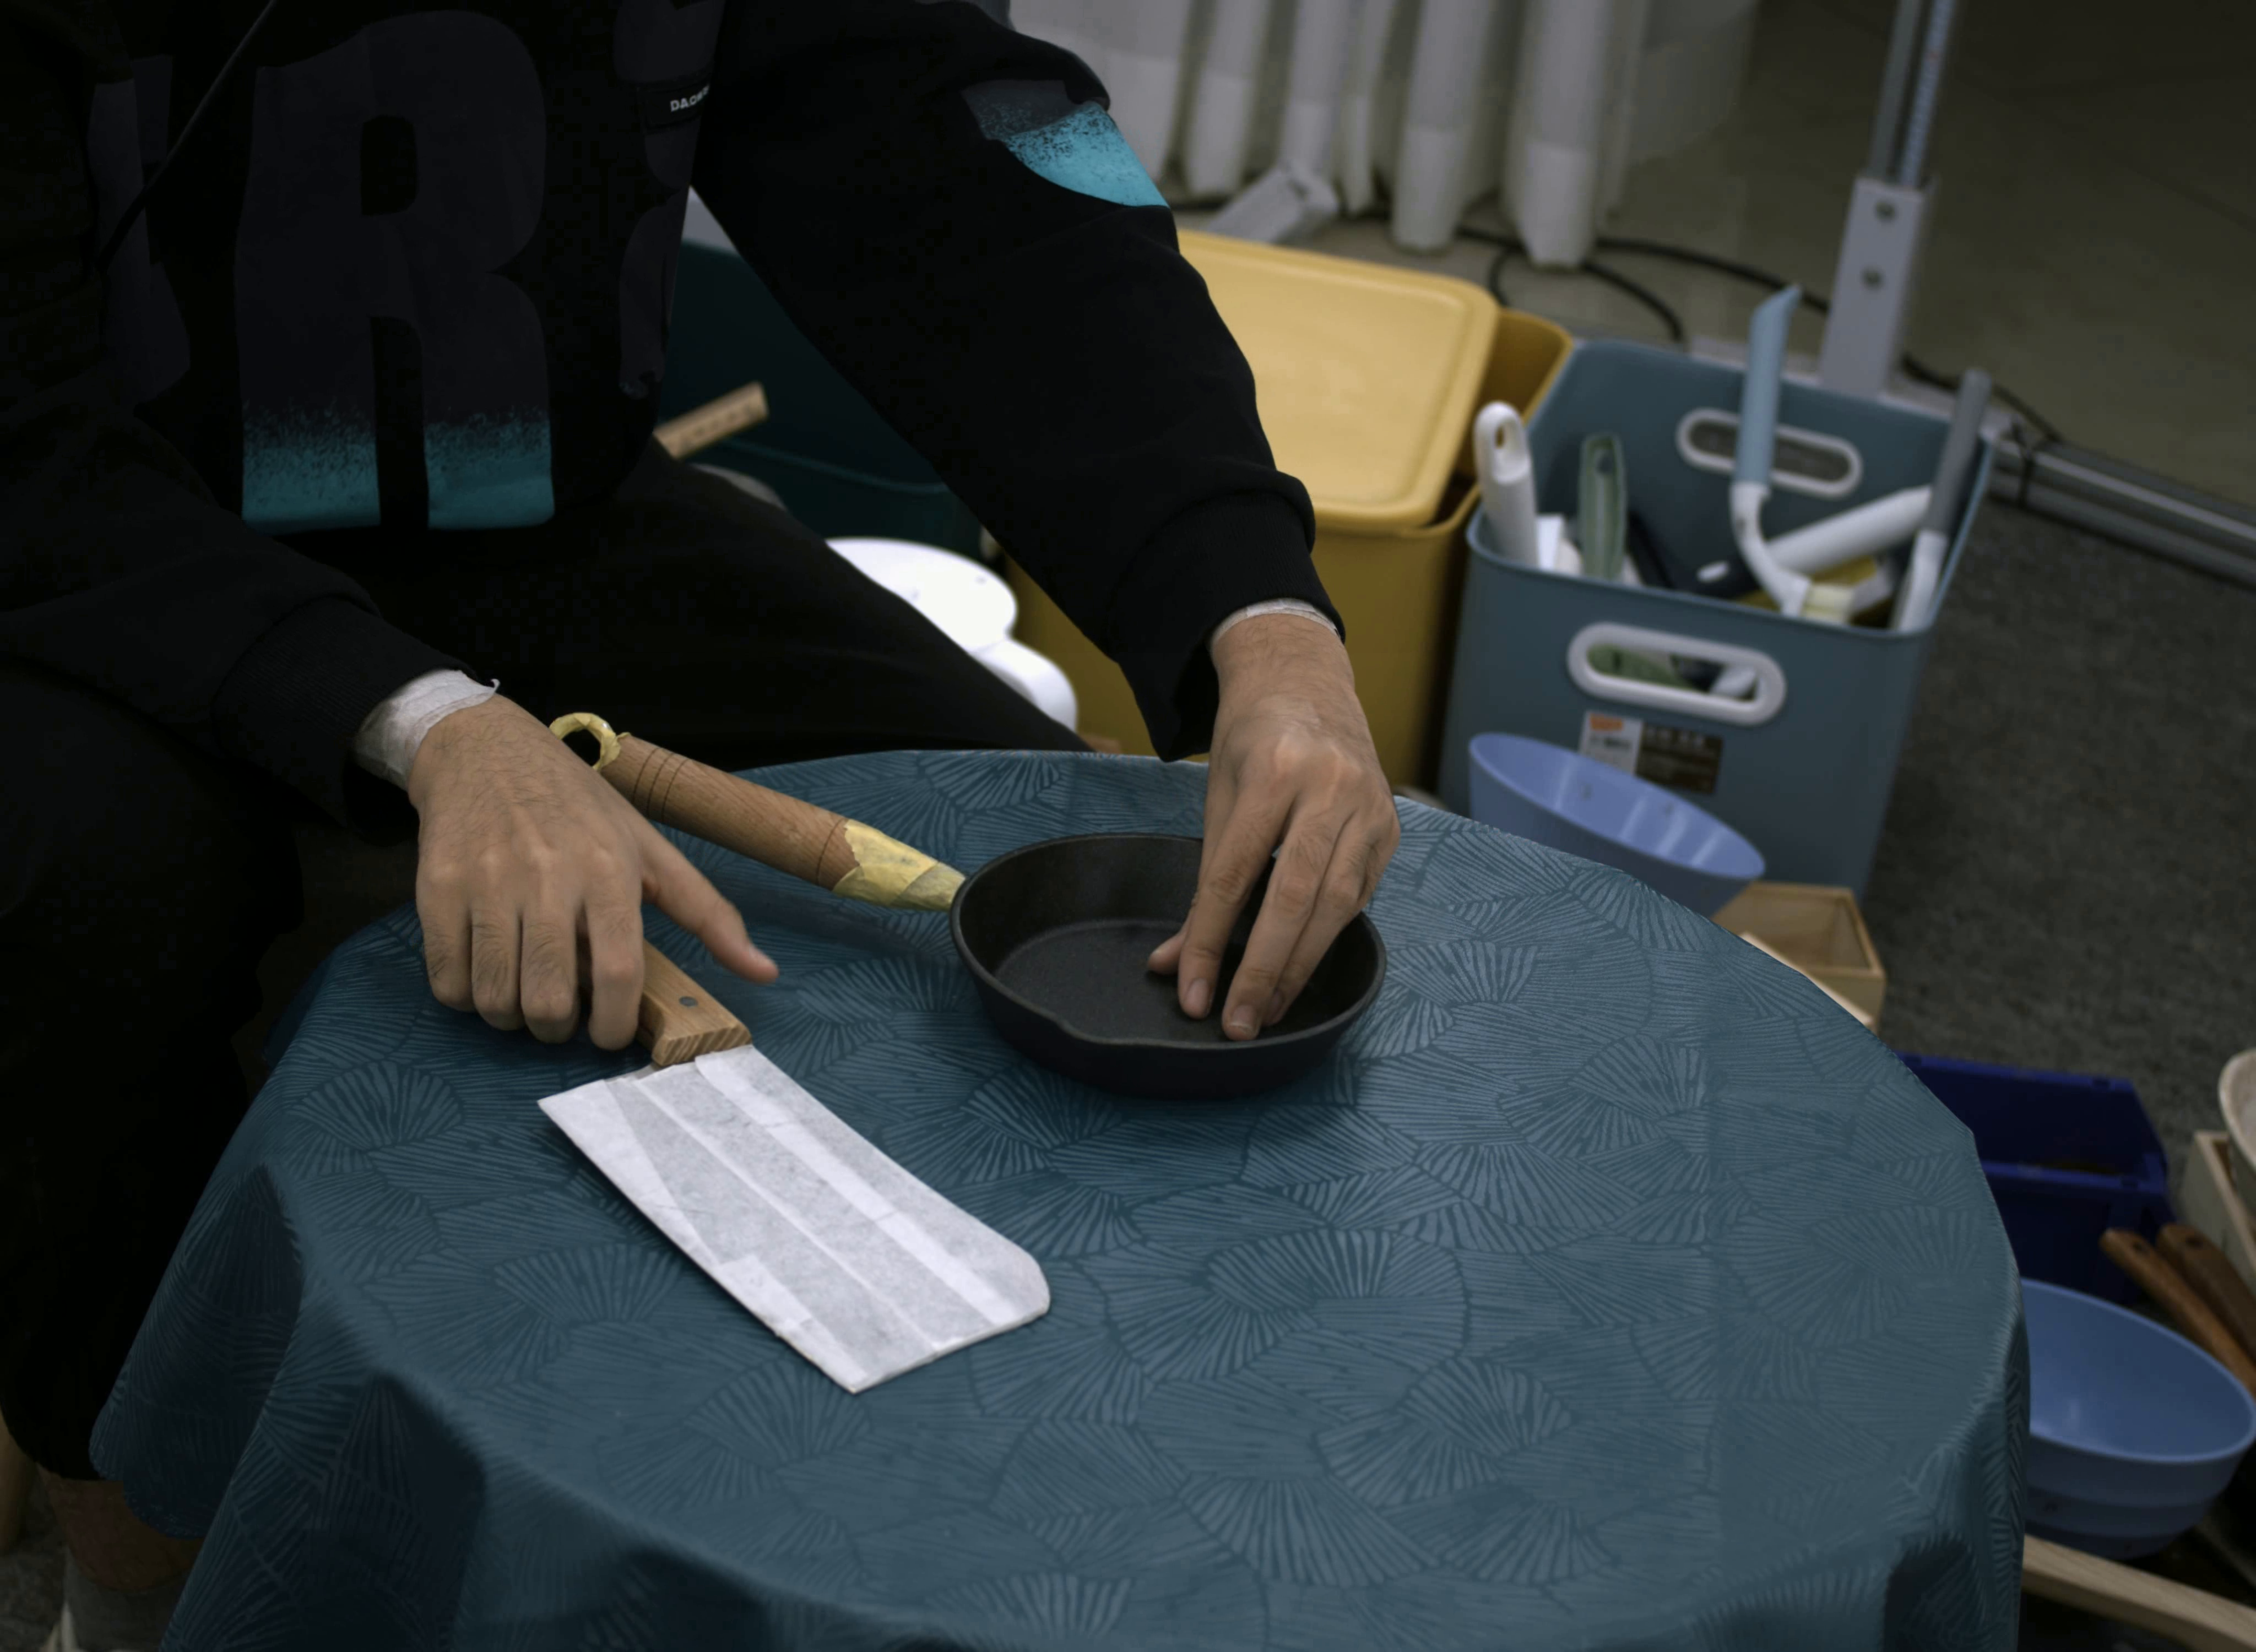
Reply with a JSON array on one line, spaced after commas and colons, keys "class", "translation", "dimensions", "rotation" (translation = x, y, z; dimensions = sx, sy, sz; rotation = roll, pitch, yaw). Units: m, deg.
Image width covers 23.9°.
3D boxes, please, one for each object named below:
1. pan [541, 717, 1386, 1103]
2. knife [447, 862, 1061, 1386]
[{"class": "pan", "translation": [-0.065, 0.025, 1.927], "dimensions": [0.325, 0.049, 0.169], "rotation": [16, 29, 16]}, {"class": "knife", "translation": [-0.140, 0.096, 1.805], "dimensions": [0.113, 0.021, 0.318], "rotation": [-13, 35, -33]}]
